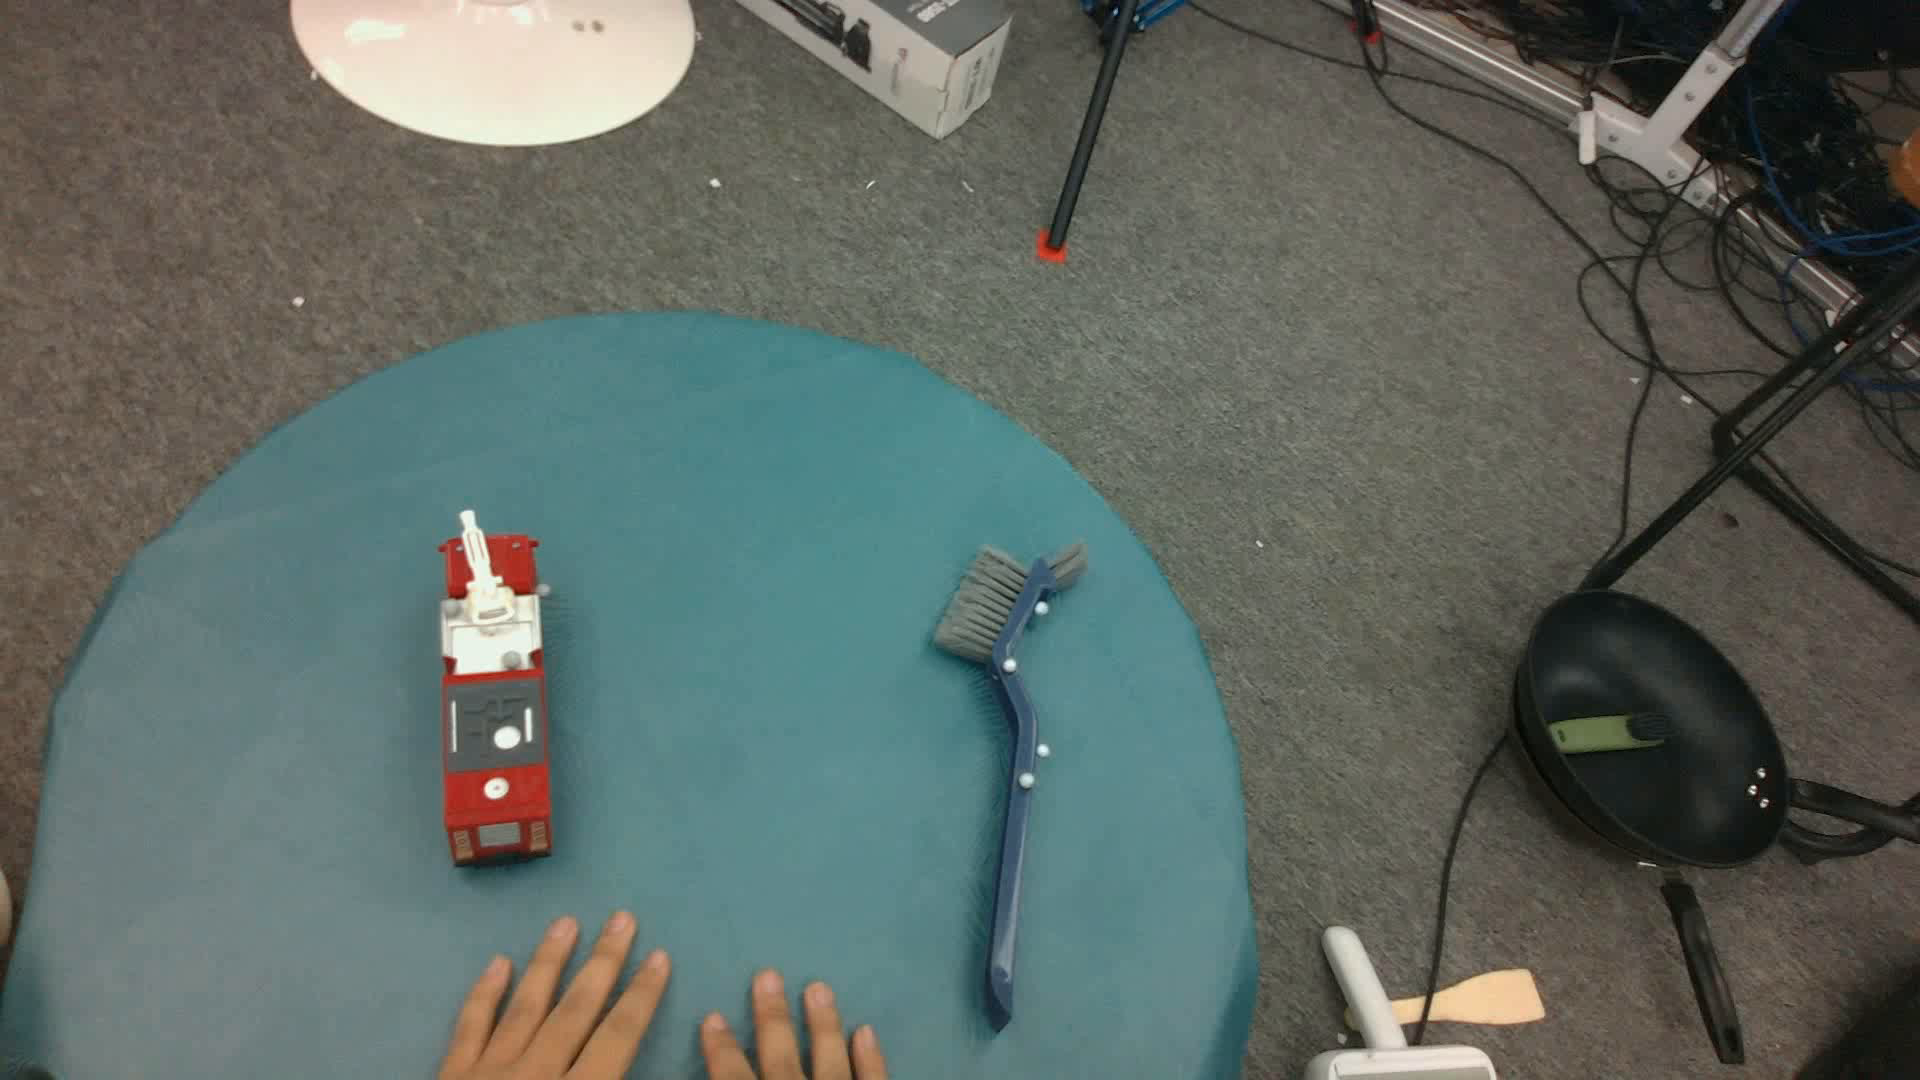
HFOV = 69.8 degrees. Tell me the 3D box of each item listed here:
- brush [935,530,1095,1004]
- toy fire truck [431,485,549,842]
[{"bbox_3d":[0.034,0.107,0.734,0.096,0.033,0.274,8,56,-13],"label":"brush"},{"bbox_3d":[-0.231,0.061,0.673,0.054,0.070,0.168,-4,60,-18],"label":"toy fire truck"}]
